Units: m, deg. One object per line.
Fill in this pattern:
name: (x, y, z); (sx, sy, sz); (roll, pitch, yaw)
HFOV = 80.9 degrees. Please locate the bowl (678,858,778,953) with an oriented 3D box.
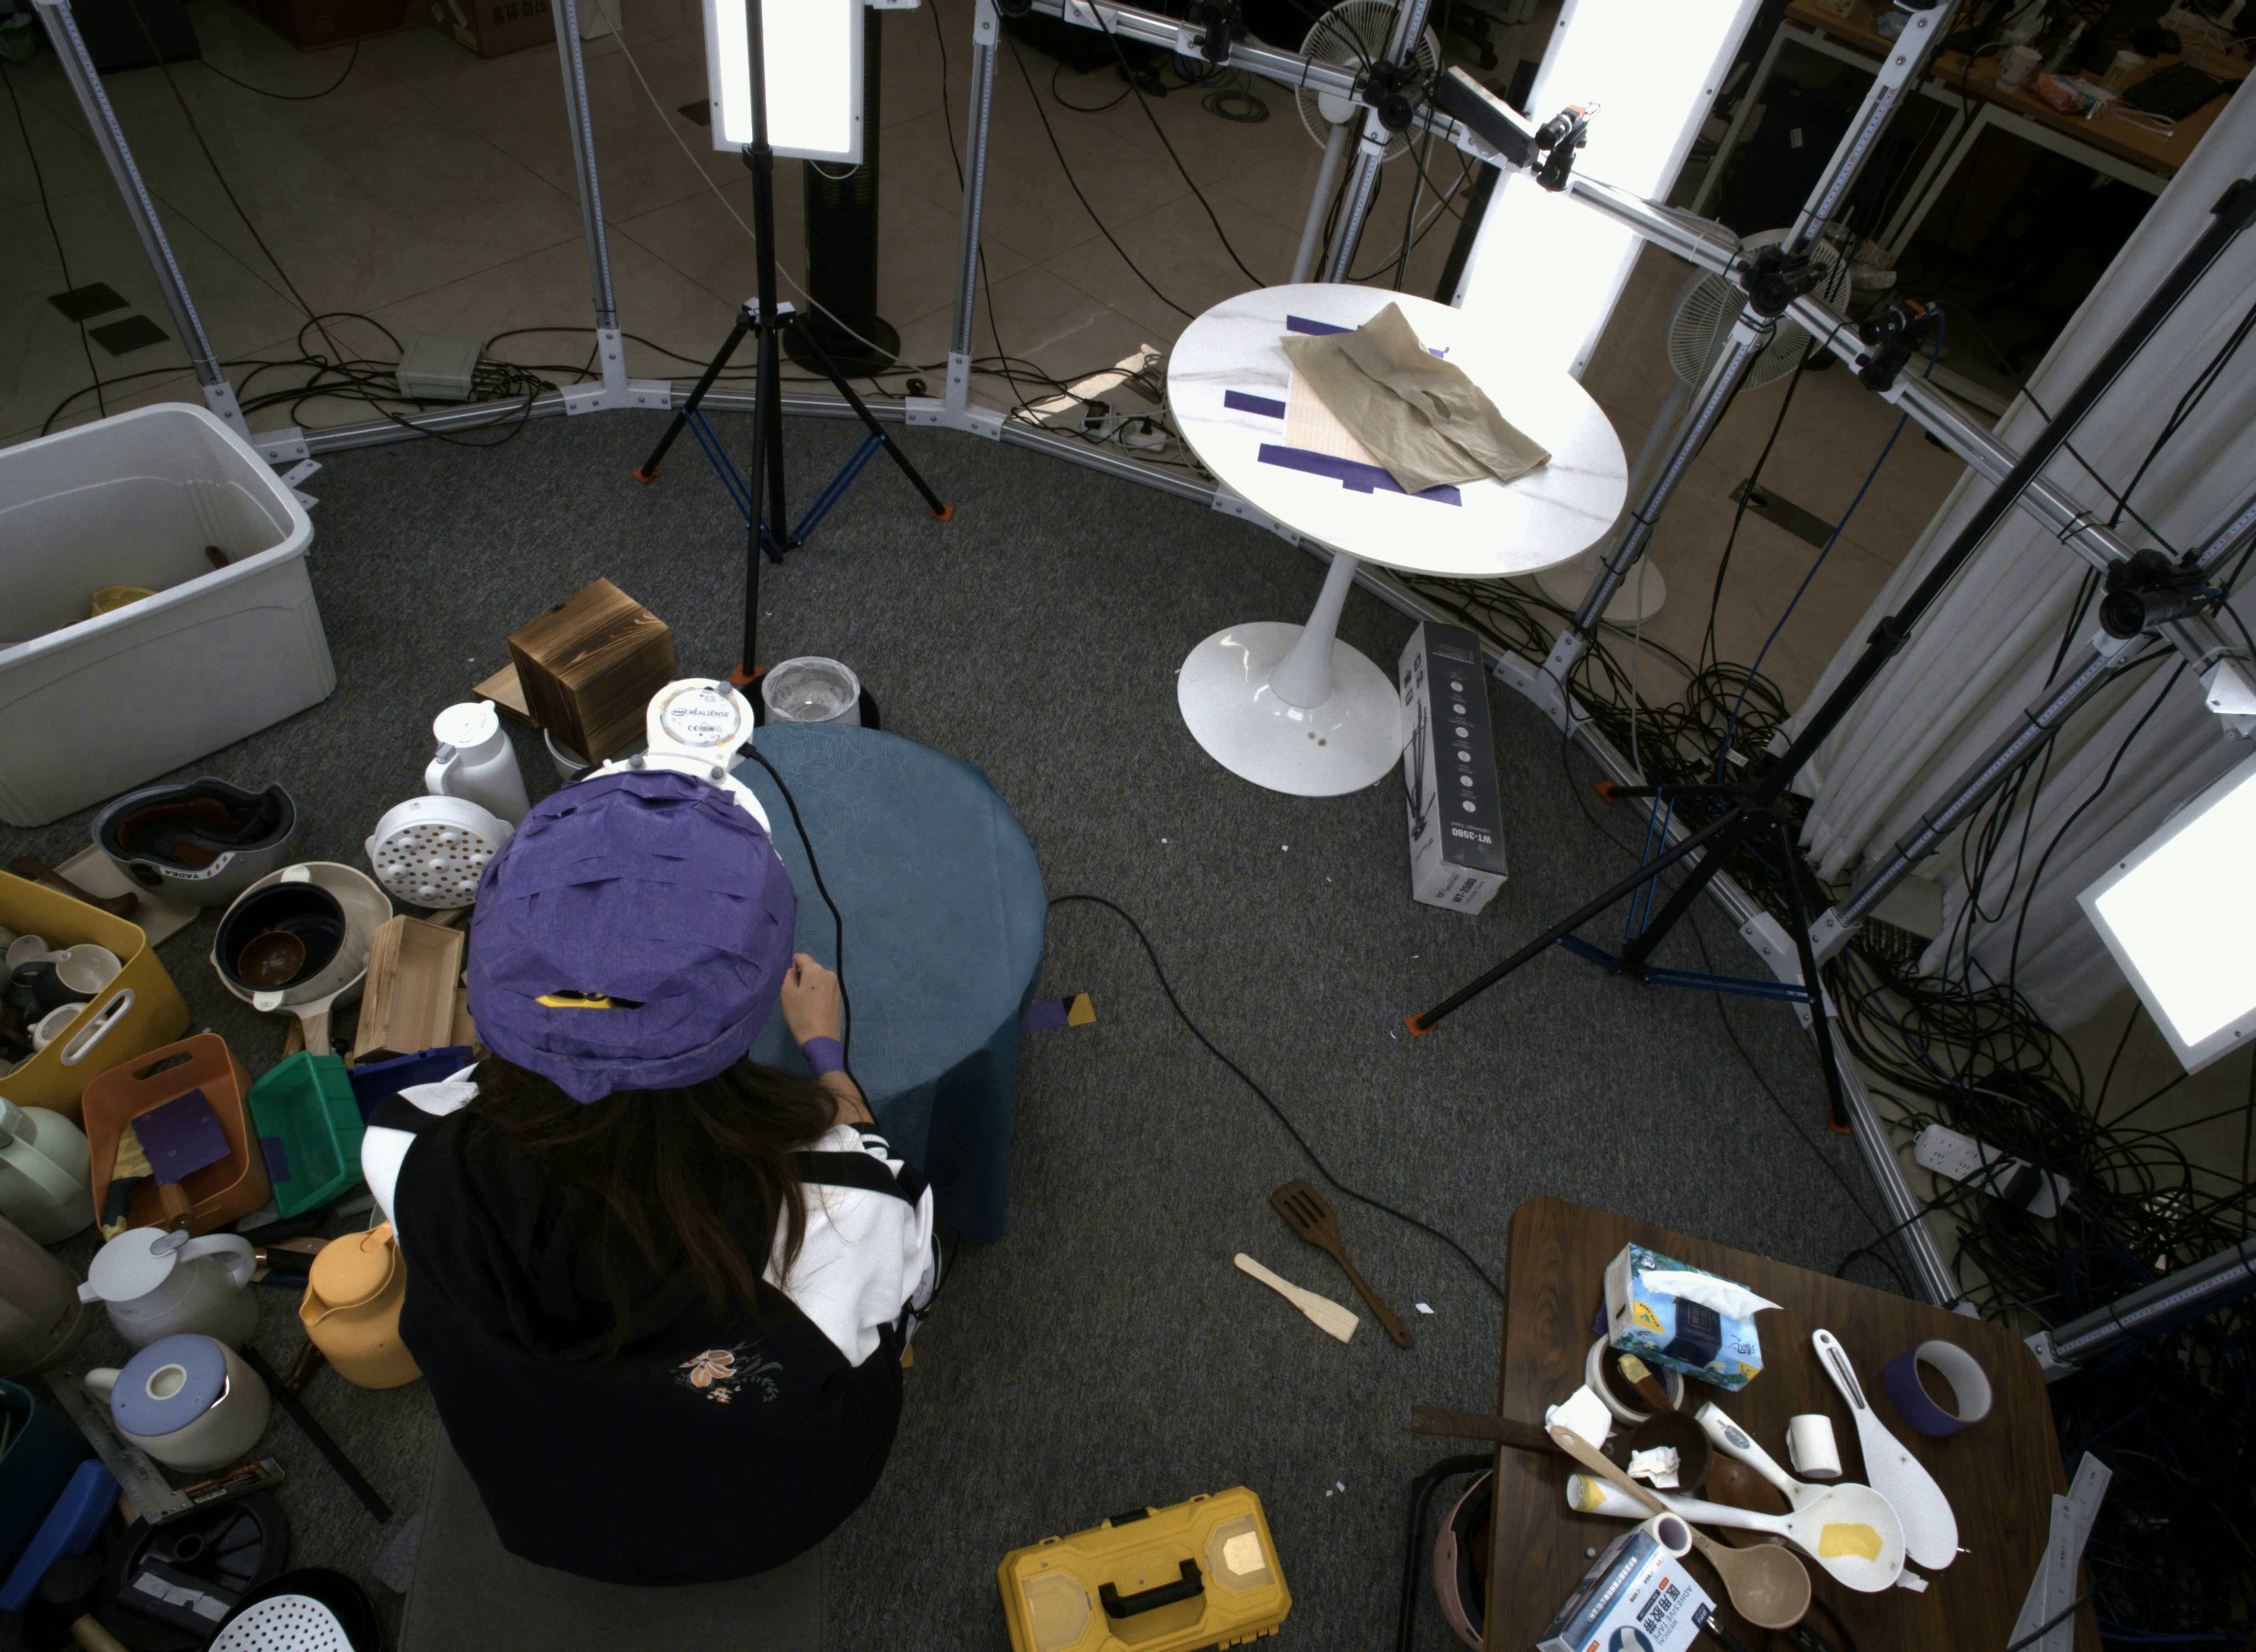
bowl: (-0.487, 0.102, 1.578); (0.118, 0.071, 0.116); (8, 52, -9)

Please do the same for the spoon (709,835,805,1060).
spoon: (-0.433, 0.141, 1.510); (0.061, 0.099, 0.273); (12, 52, -51)
